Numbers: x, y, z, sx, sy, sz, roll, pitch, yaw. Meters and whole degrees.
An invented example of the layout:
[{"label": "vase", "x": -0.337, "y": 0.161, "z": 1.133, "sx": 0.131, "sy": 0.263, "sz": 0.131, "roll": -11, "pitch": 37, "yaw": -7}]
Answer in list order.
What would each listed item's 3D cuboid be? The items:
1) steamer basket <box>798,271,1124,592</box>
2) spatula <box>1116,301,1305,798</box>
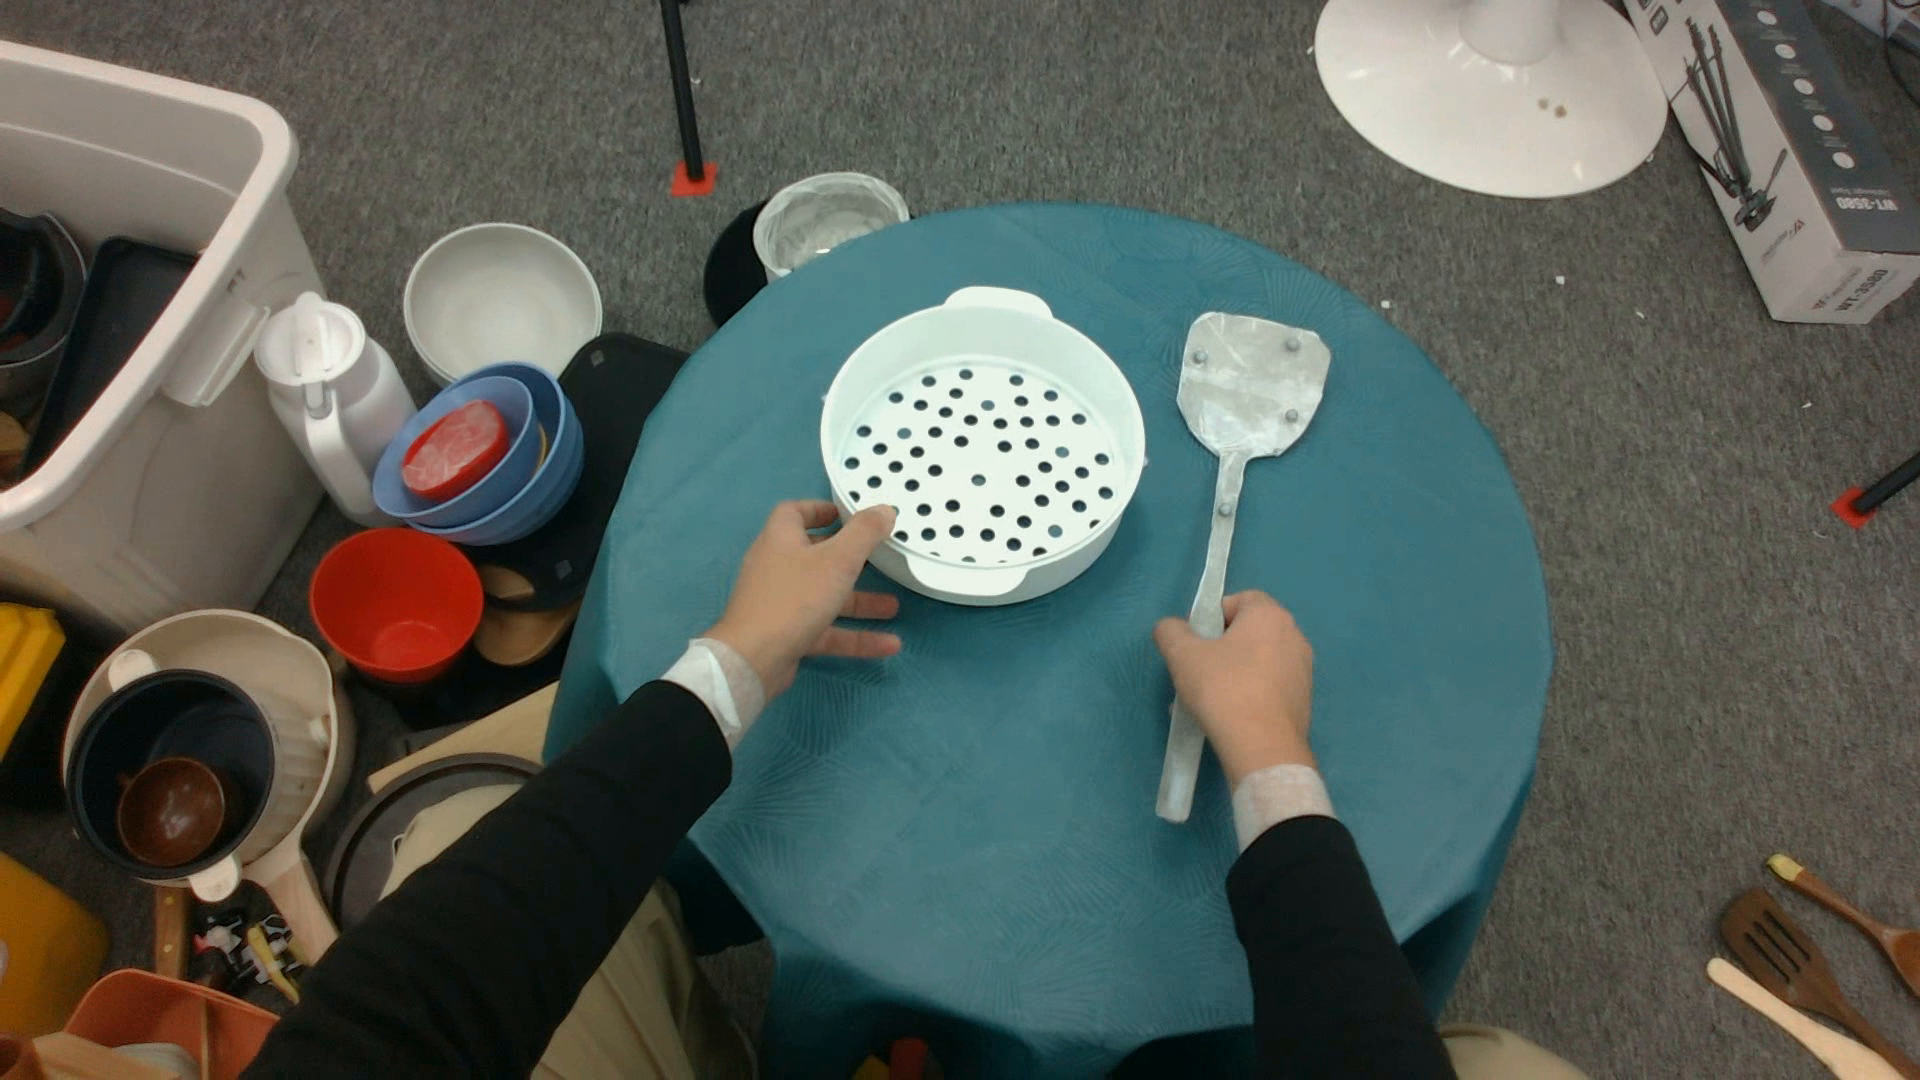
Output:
[{"label": "steamer basket", "x": 0.000, "y": -0.063, "z": 0.875, "sx": 0.202, "sy": 0.069, "sz": 0.231, "roll": 7, "pitch": 61, "yaw": 1}, {"label": "spatula", "x": 0.146, "y": -0.006, "z": 0.860, "sx": 0.098, "sy": 0.044, "sz": 0.367, "roll": 16, "pitch": 54, "yaw": 3}]
